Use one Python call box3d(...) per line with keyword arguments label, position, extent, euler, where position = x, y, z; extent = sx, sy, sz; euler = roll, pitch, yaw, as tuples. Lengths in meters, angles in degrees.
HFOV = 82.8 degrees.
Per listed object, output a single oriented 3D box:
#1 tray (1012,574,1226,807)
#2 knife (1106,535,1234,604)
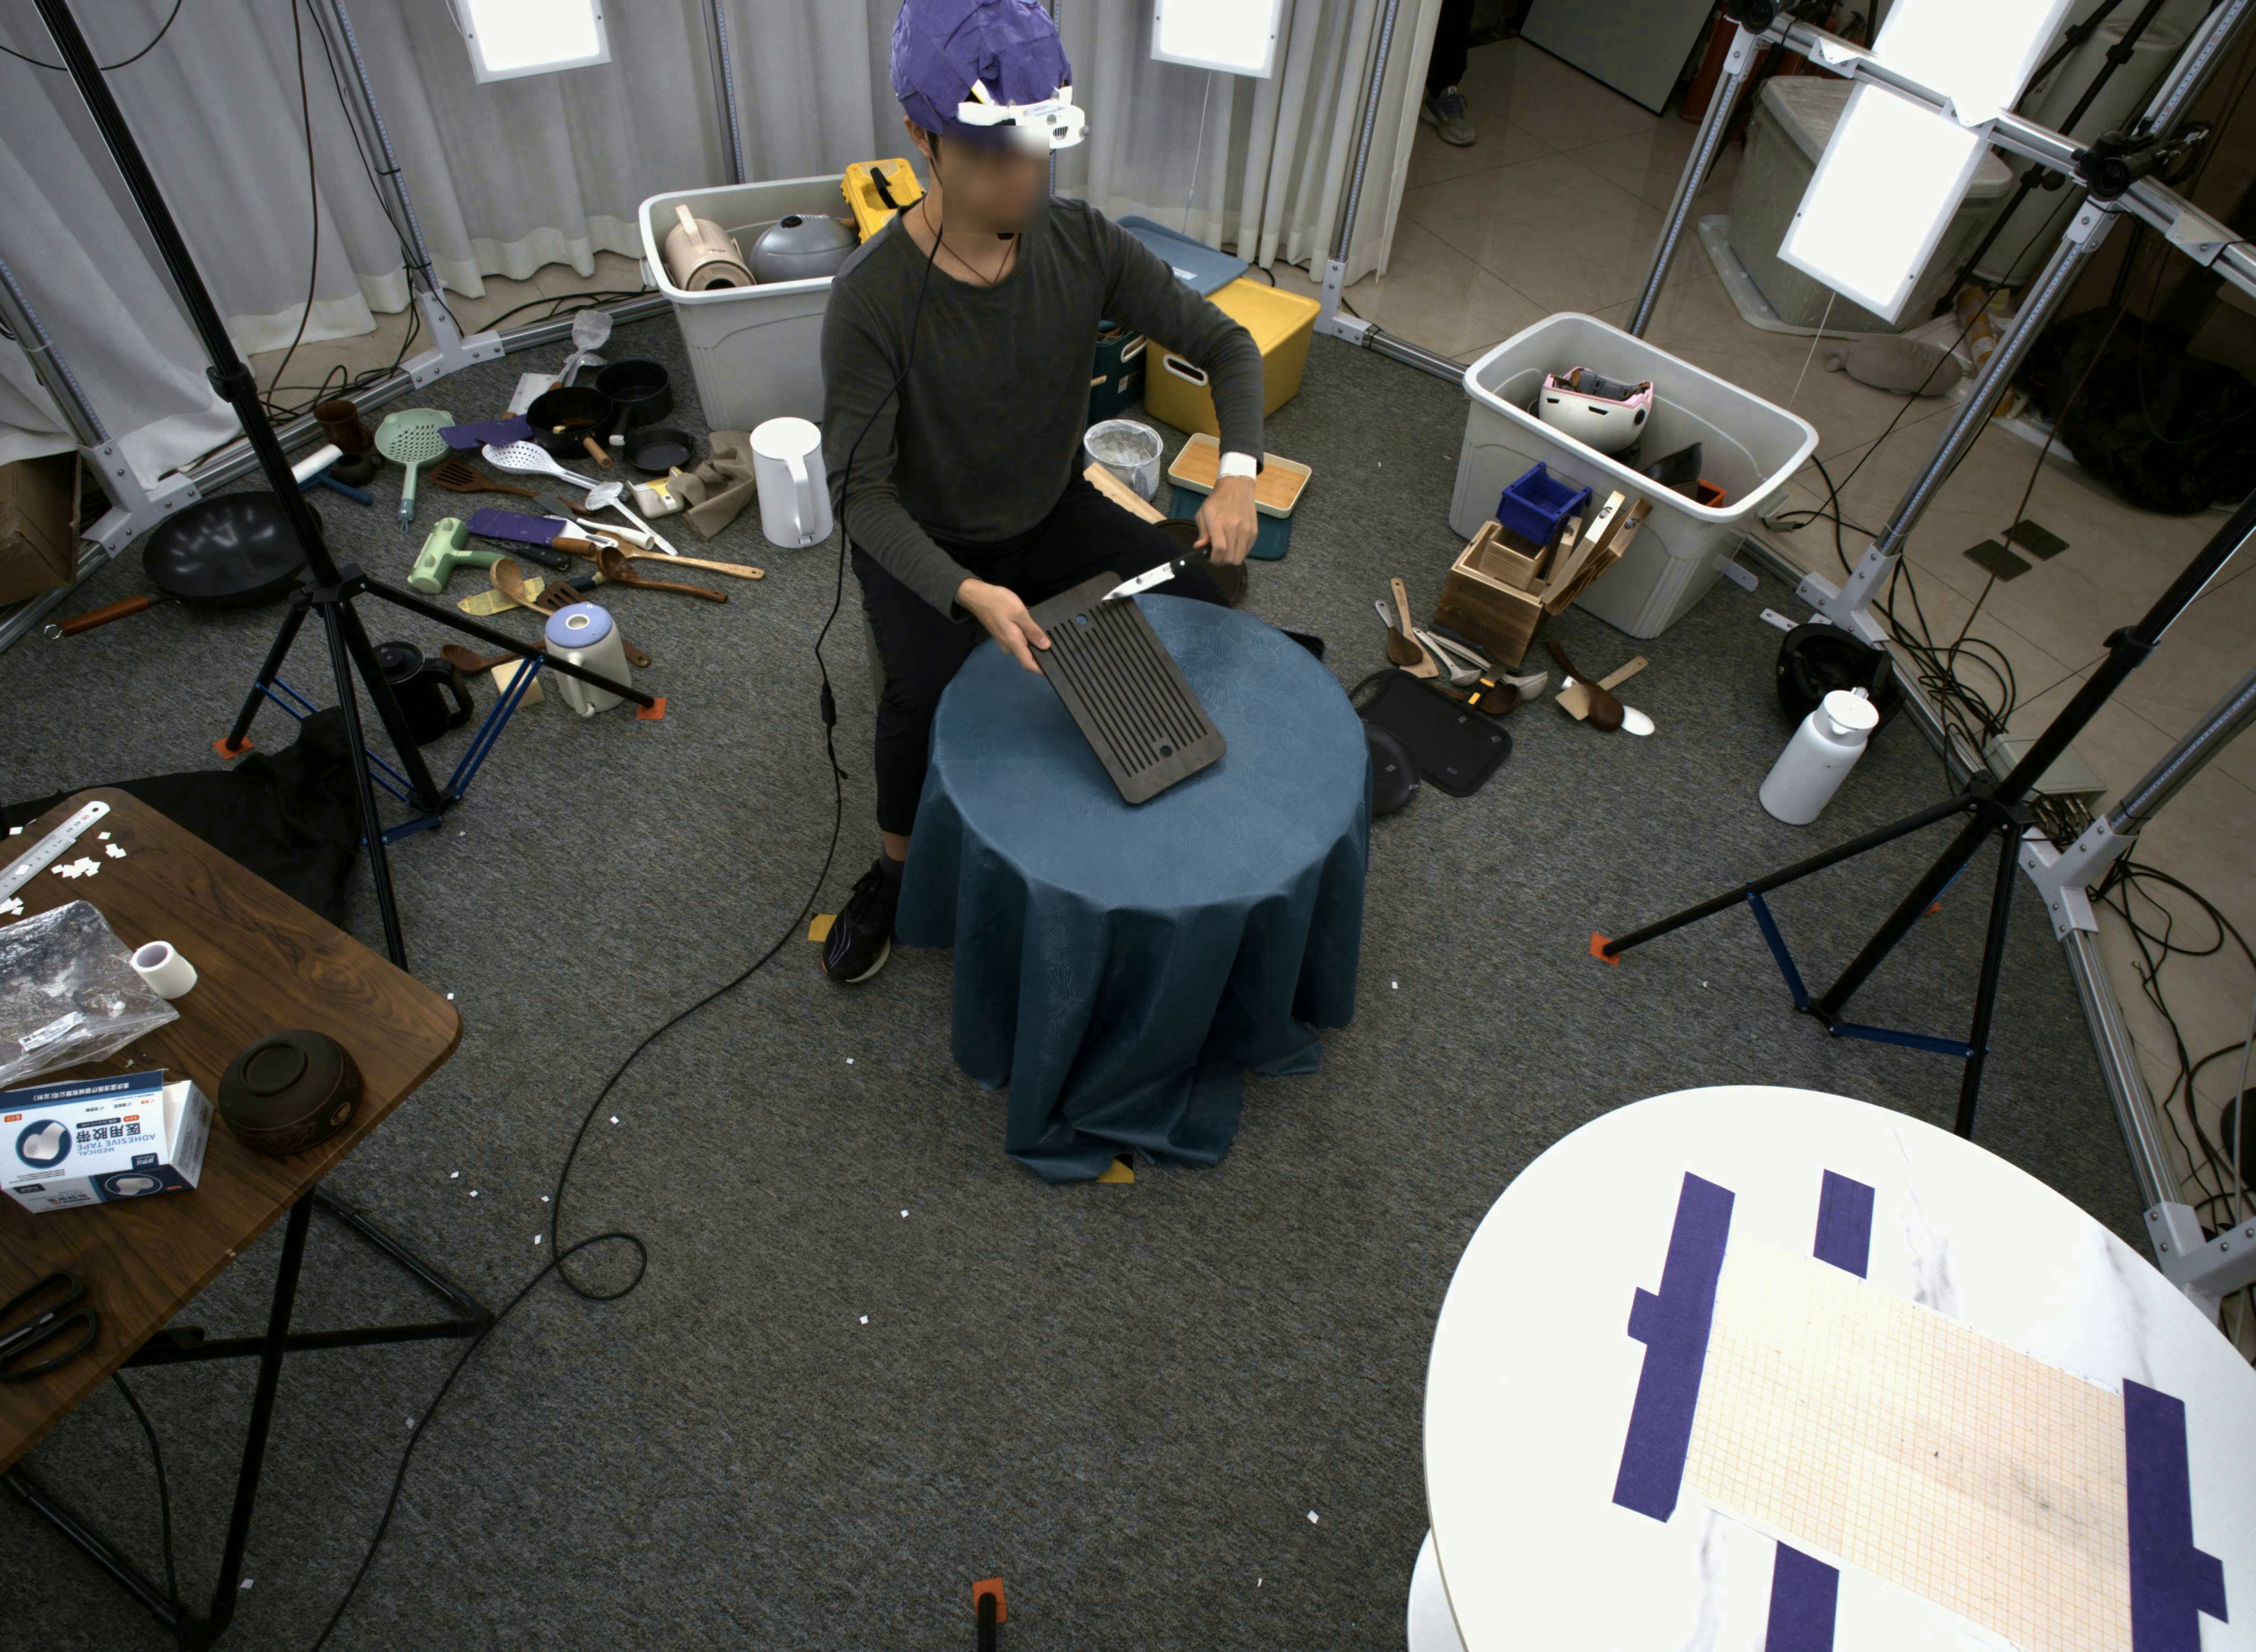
box3d(label="tray", position=(-0.012, -0.186, 1.737), extent=(0.171, 0.018, 0.308), euler=(-29, 81, -22))
box3d(label="knife", position=(0.059, -0.356, 1.779), extent=(0.240, 0.024, 0.016), euler=(-31, 23, -29))
